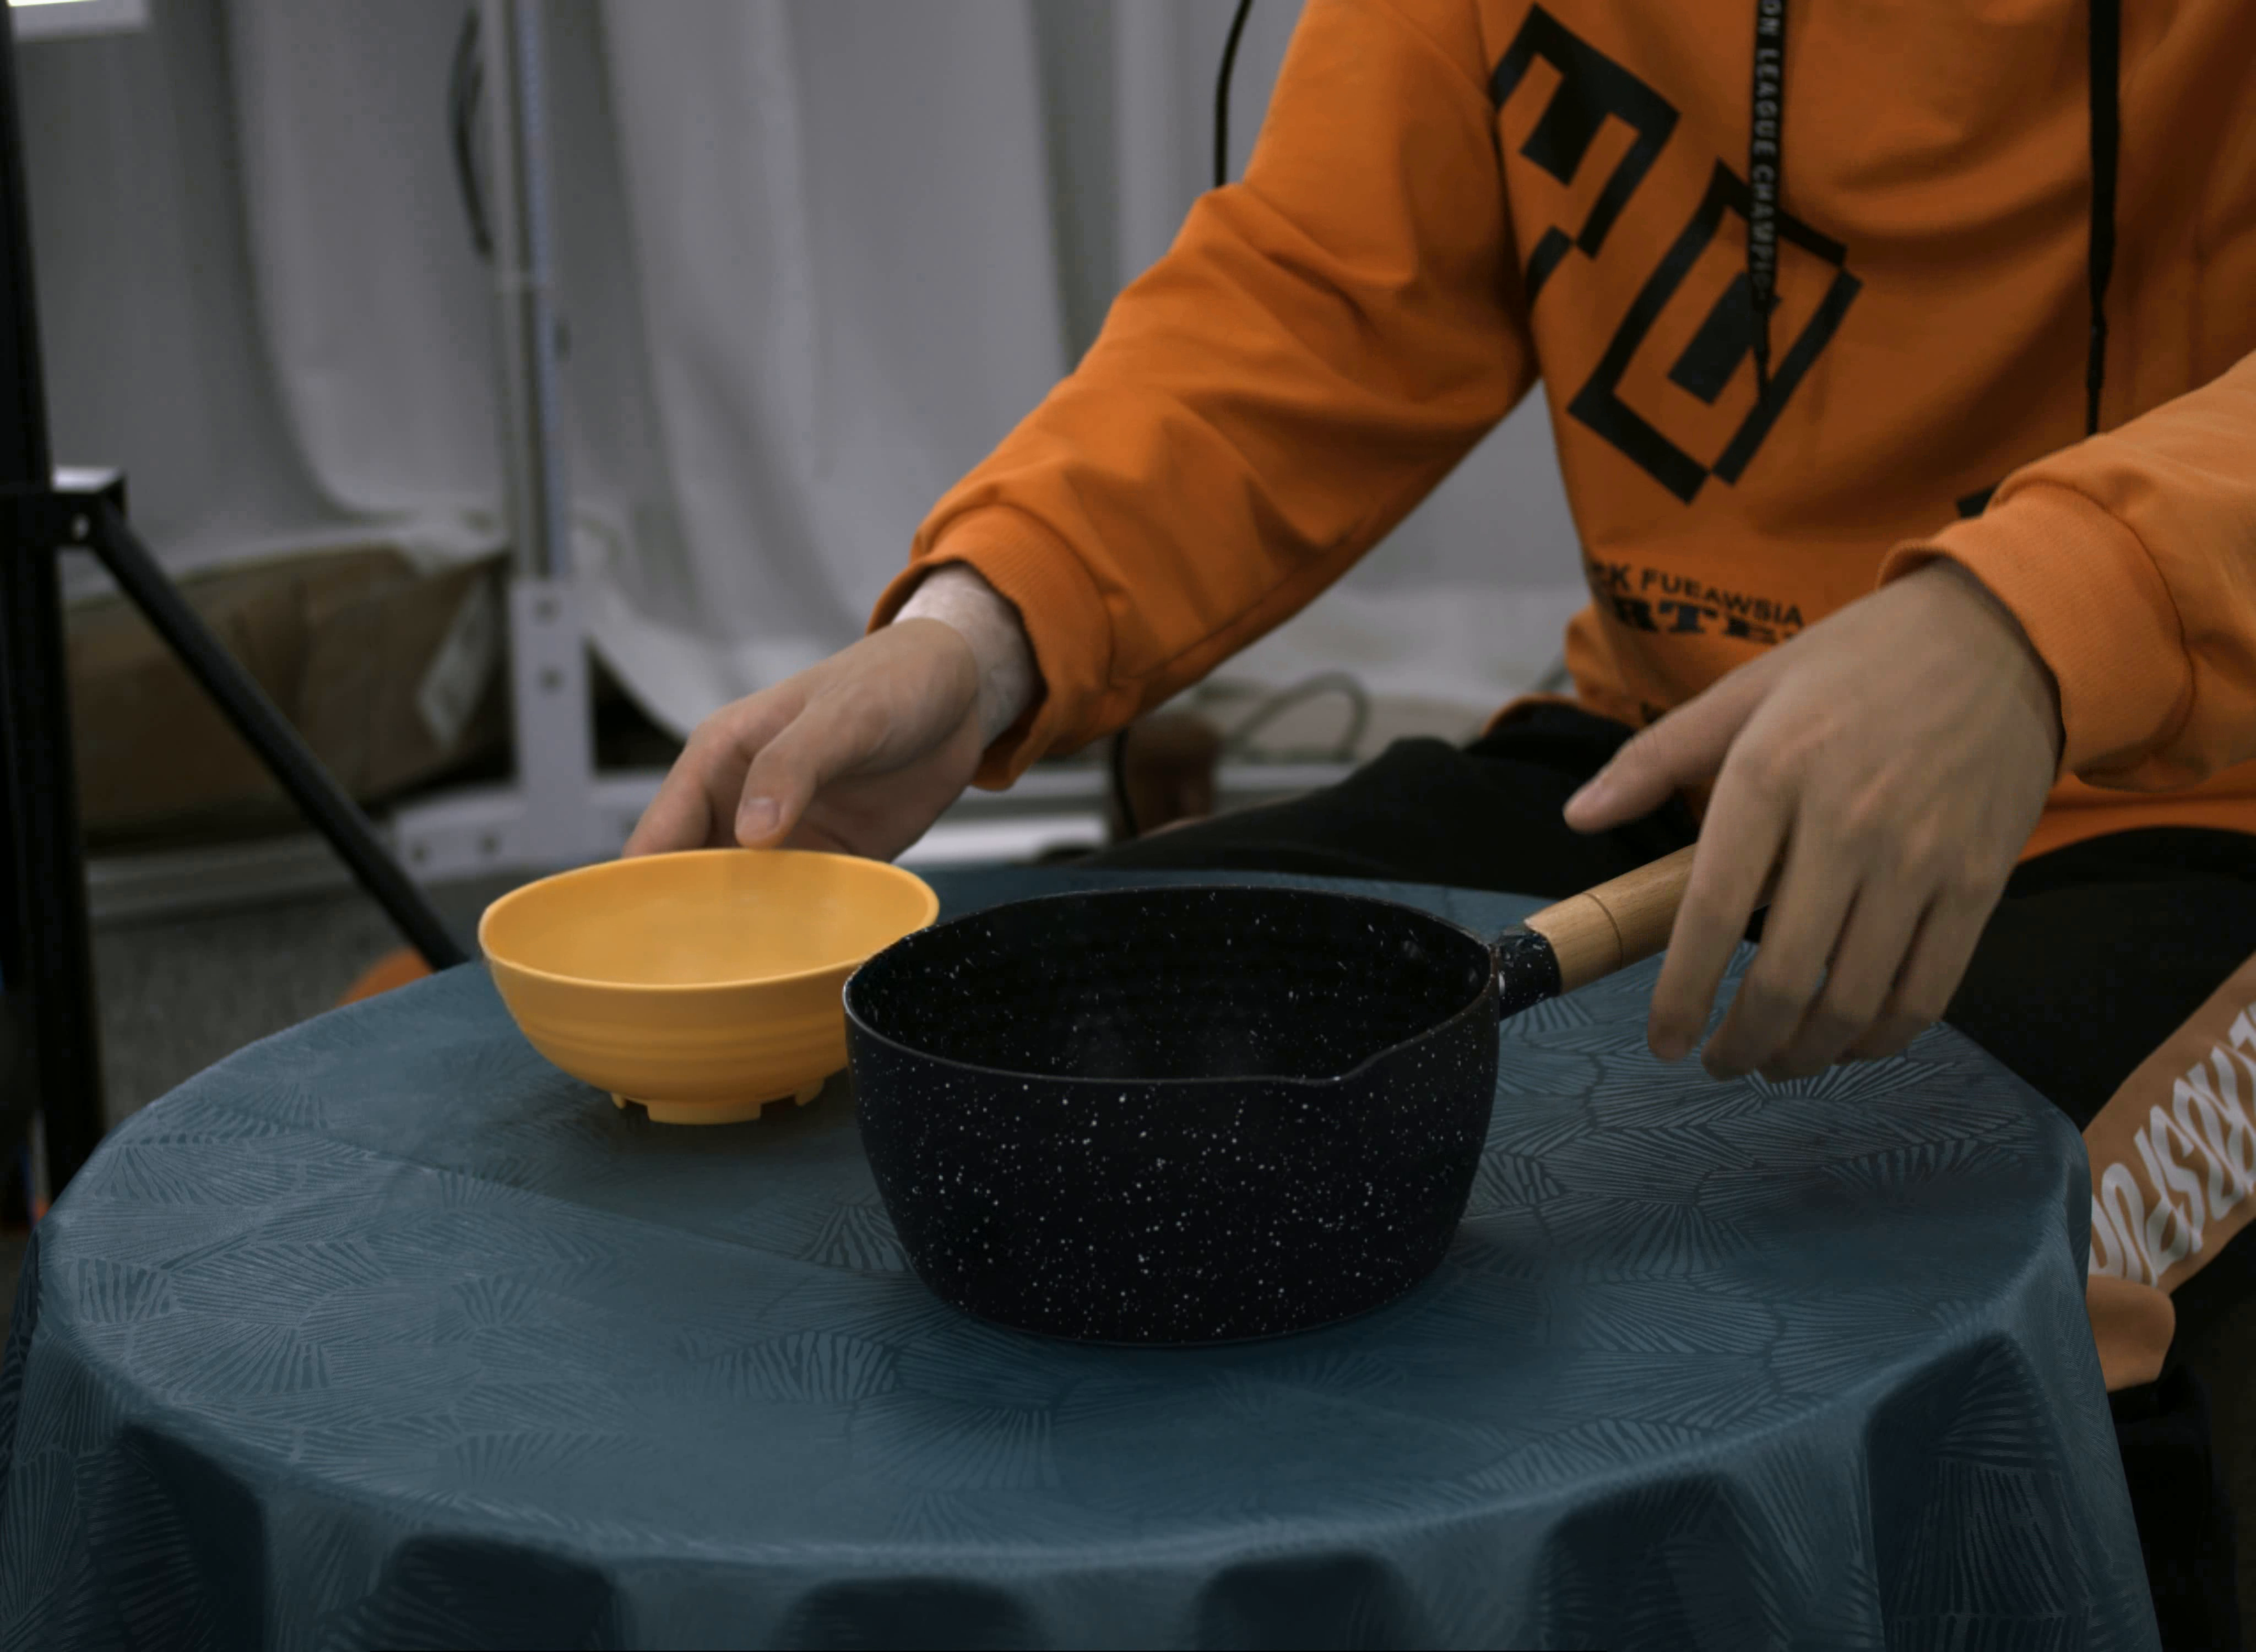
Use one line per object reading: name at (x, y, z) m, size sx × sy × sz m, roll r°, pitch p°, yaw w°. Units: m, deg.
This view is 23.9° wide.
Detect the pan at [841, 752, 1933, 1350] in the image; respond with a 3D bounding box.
pan at (0.084, 0.059, 1.520) m, size 0.336 × 0.108 × 0.211 m, roll -11°, pitch 16°, yaw -23°

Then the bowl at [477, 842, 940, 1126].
bowl at (-0.130, 0.054, 1.662) m, size 0.144 × 0.060 × 0.146 m, roll -2°, pitch 17°, yaw -1°
